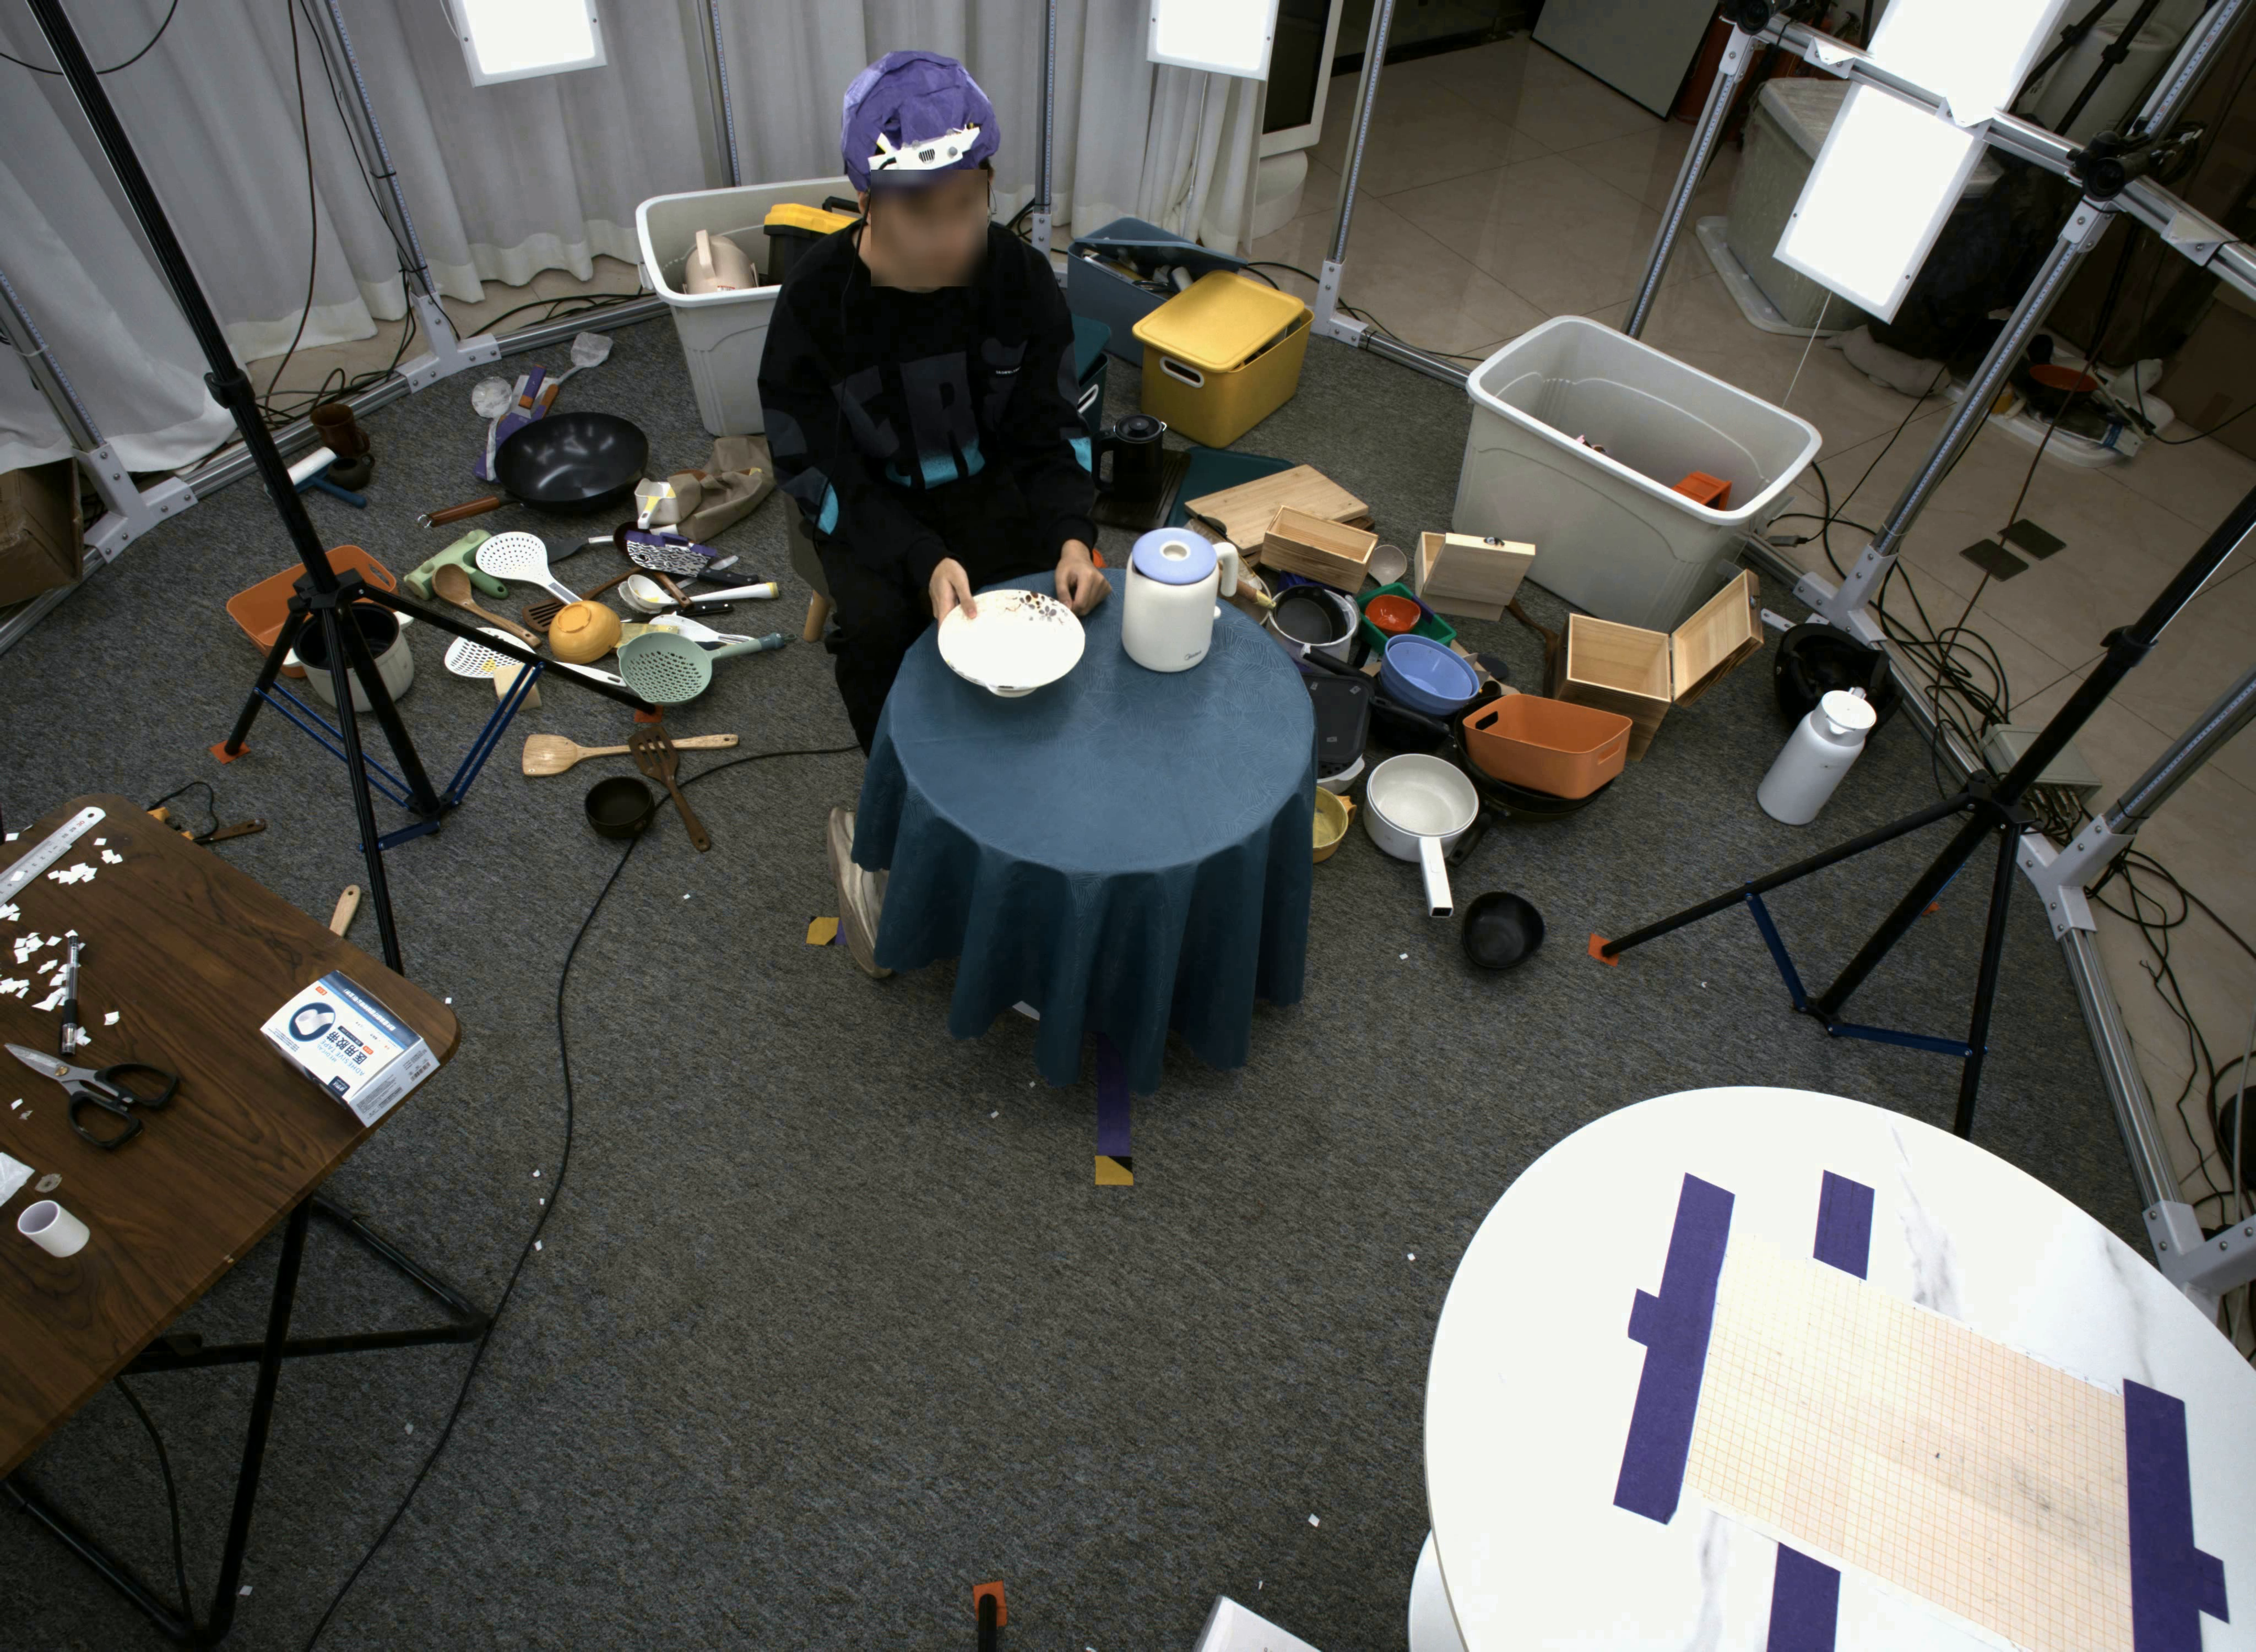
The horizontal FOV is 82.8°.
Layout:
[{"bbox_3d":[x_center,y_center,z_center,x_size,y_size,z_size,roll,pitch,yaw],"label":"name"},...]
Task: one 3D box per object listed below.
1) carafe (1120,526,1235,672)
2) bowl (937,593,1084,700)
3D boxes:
[{"bbox_3d":[0.078,-0.334,1.853,0.192,0.178,0.134,-26,57,-27],"label":"carafe"},{"bbox_3d":[-0.164,-0.236,1.814,0.204,0.076,0.209,2,47,-2],"label":"bowl"}]
